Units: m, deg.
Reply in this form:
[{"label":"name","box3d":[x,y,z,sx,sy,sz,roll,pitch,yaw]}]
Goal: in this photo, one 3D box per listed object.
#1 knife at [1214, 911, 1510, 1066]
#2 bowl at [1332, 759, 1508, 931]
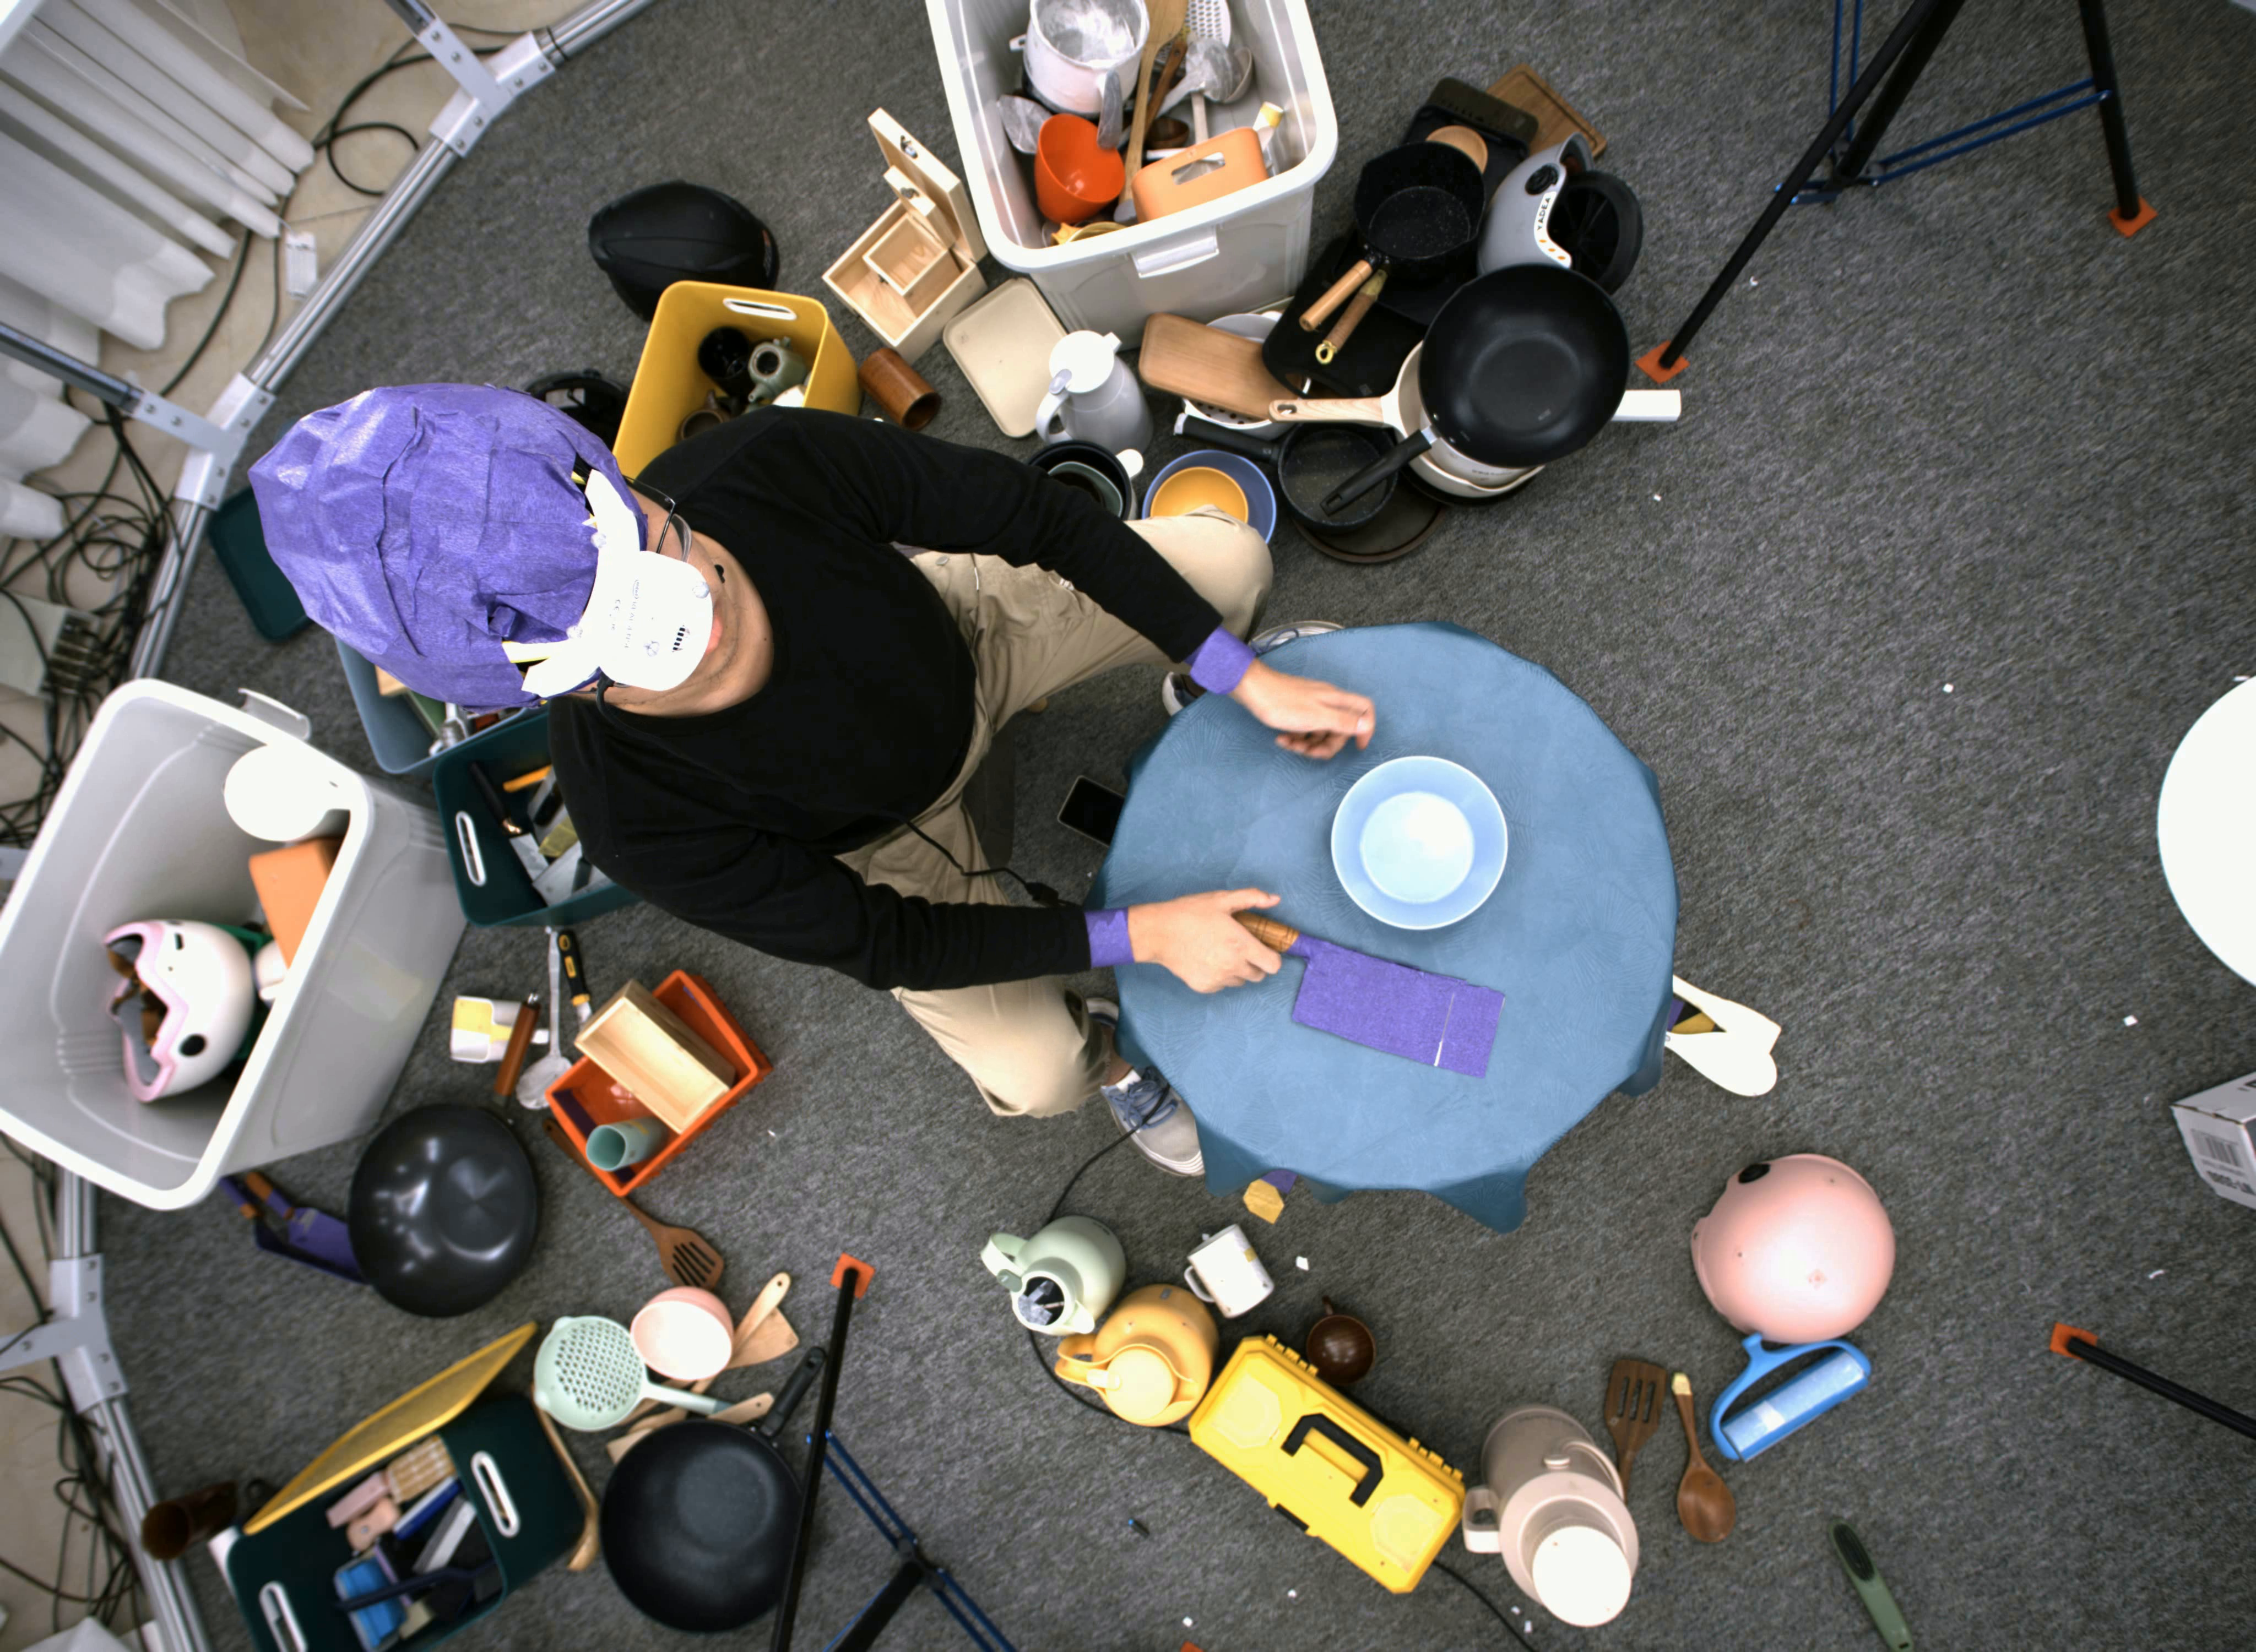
[{"label":"knife","box3d":[0.235,0.171,1.450,0.315,0.032,0.104,15,90,10]},{"label":"bowl","box3d":[0.299,0.021,1.422,0.177,0.070,0.175,-1,85,11]}]
